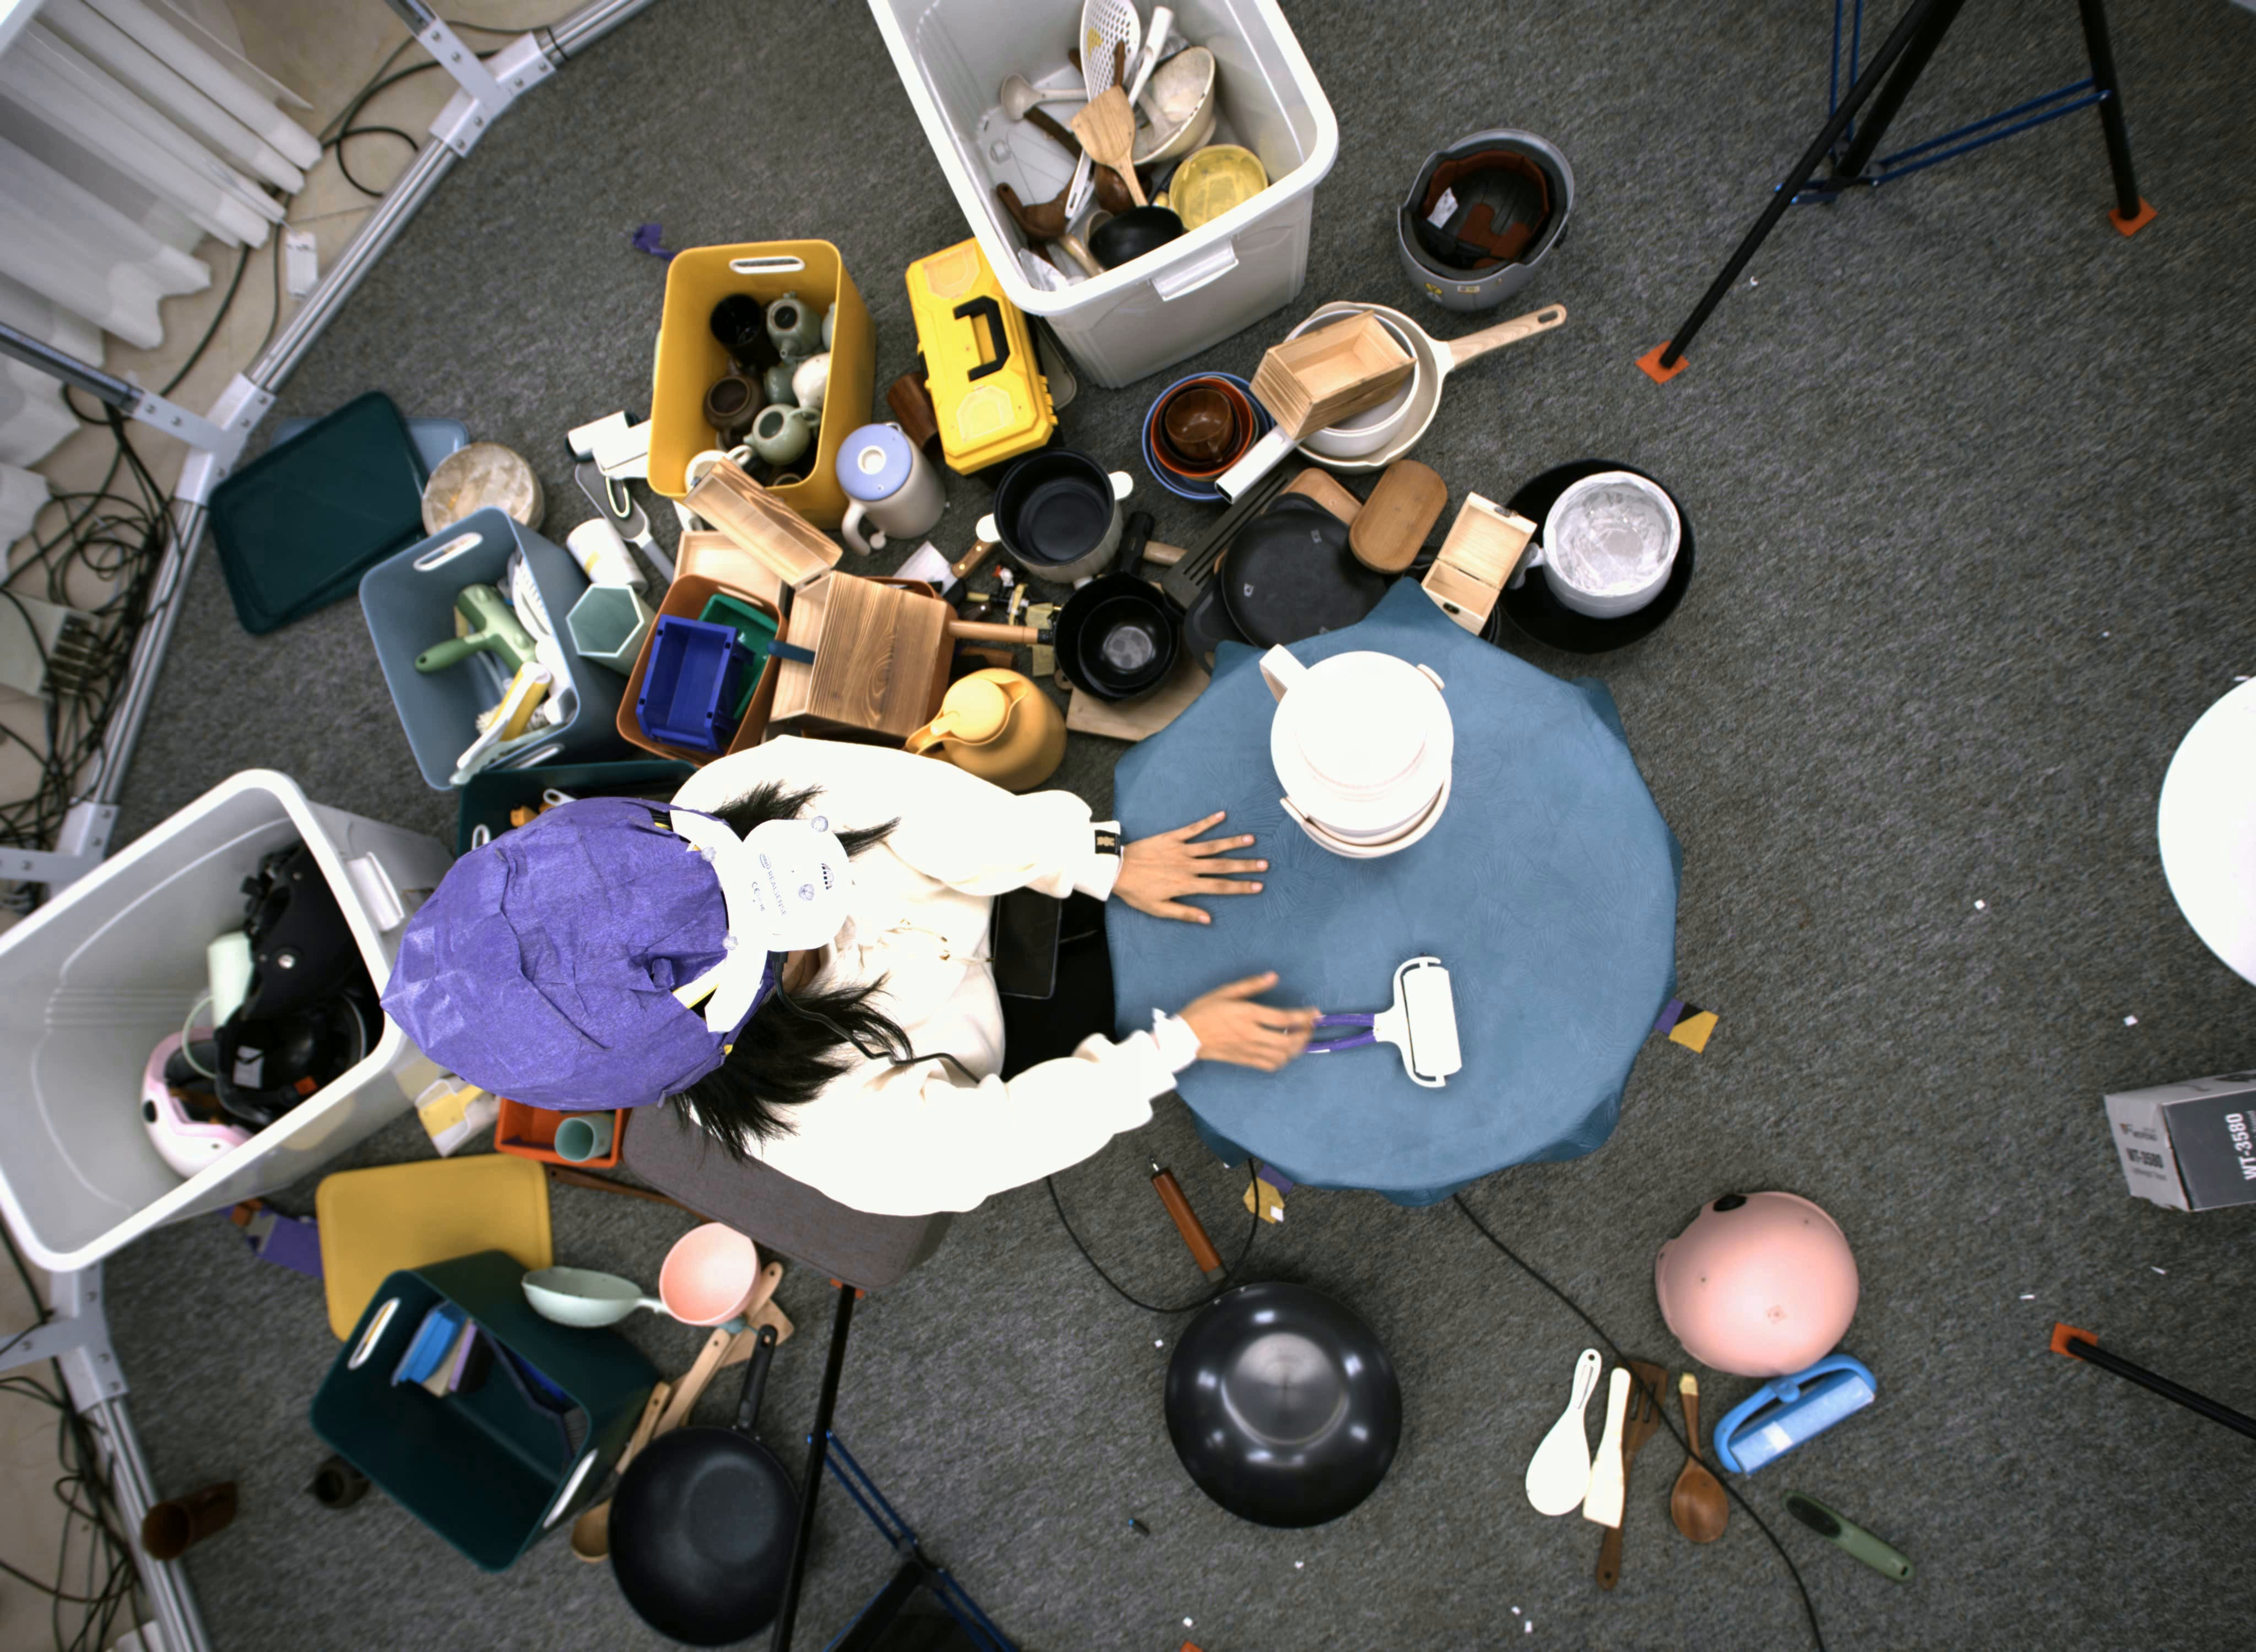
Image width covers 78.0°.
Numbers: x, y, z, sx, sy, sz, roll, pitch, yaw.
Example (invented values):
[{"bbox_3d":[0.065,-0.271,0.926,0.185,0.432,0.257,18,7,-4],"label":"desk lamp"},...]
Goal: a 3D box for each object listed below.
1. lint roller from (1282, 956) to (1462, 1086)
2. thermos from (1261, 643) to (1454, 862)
[{"bbox_3d":[0.249,0.206,1.433,0.181,0.050,0.132,-6,86,8],"label":"lint roller"},{"bbox_3d":[0.208,-0.075,1.279,0.176,0.407,0.206,-45,79,4],"label":"thermos"}]
